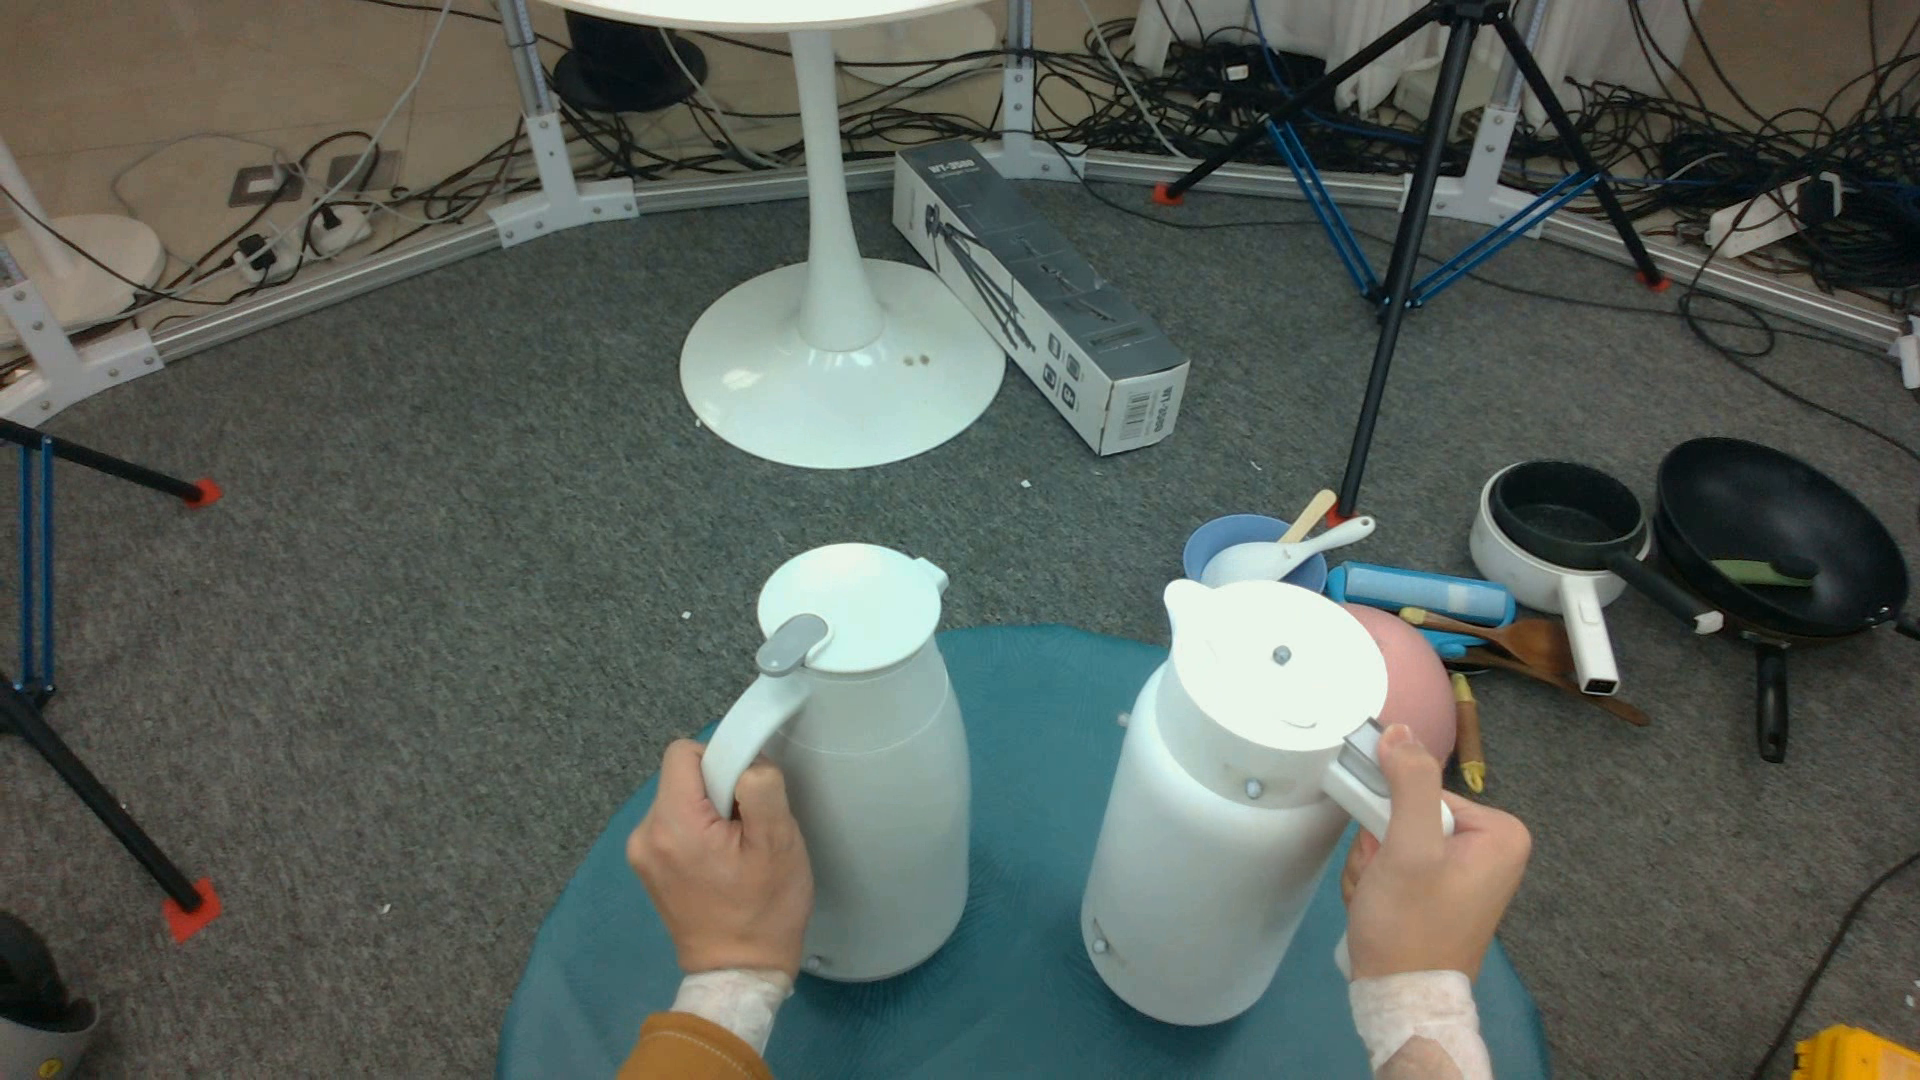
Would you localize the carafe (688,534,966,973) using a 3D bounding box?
[{"bbox_3d":[-0.073,0.124,0.749,0.132,0.247,0.168,31,50,29],"label":"carafe"}]

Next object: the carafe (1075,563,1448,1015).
[{"bbox_3d":[0.147,0.150,0.718,0.124,0.267,0.173,-28,55,-31],"label":"carafe"}]
